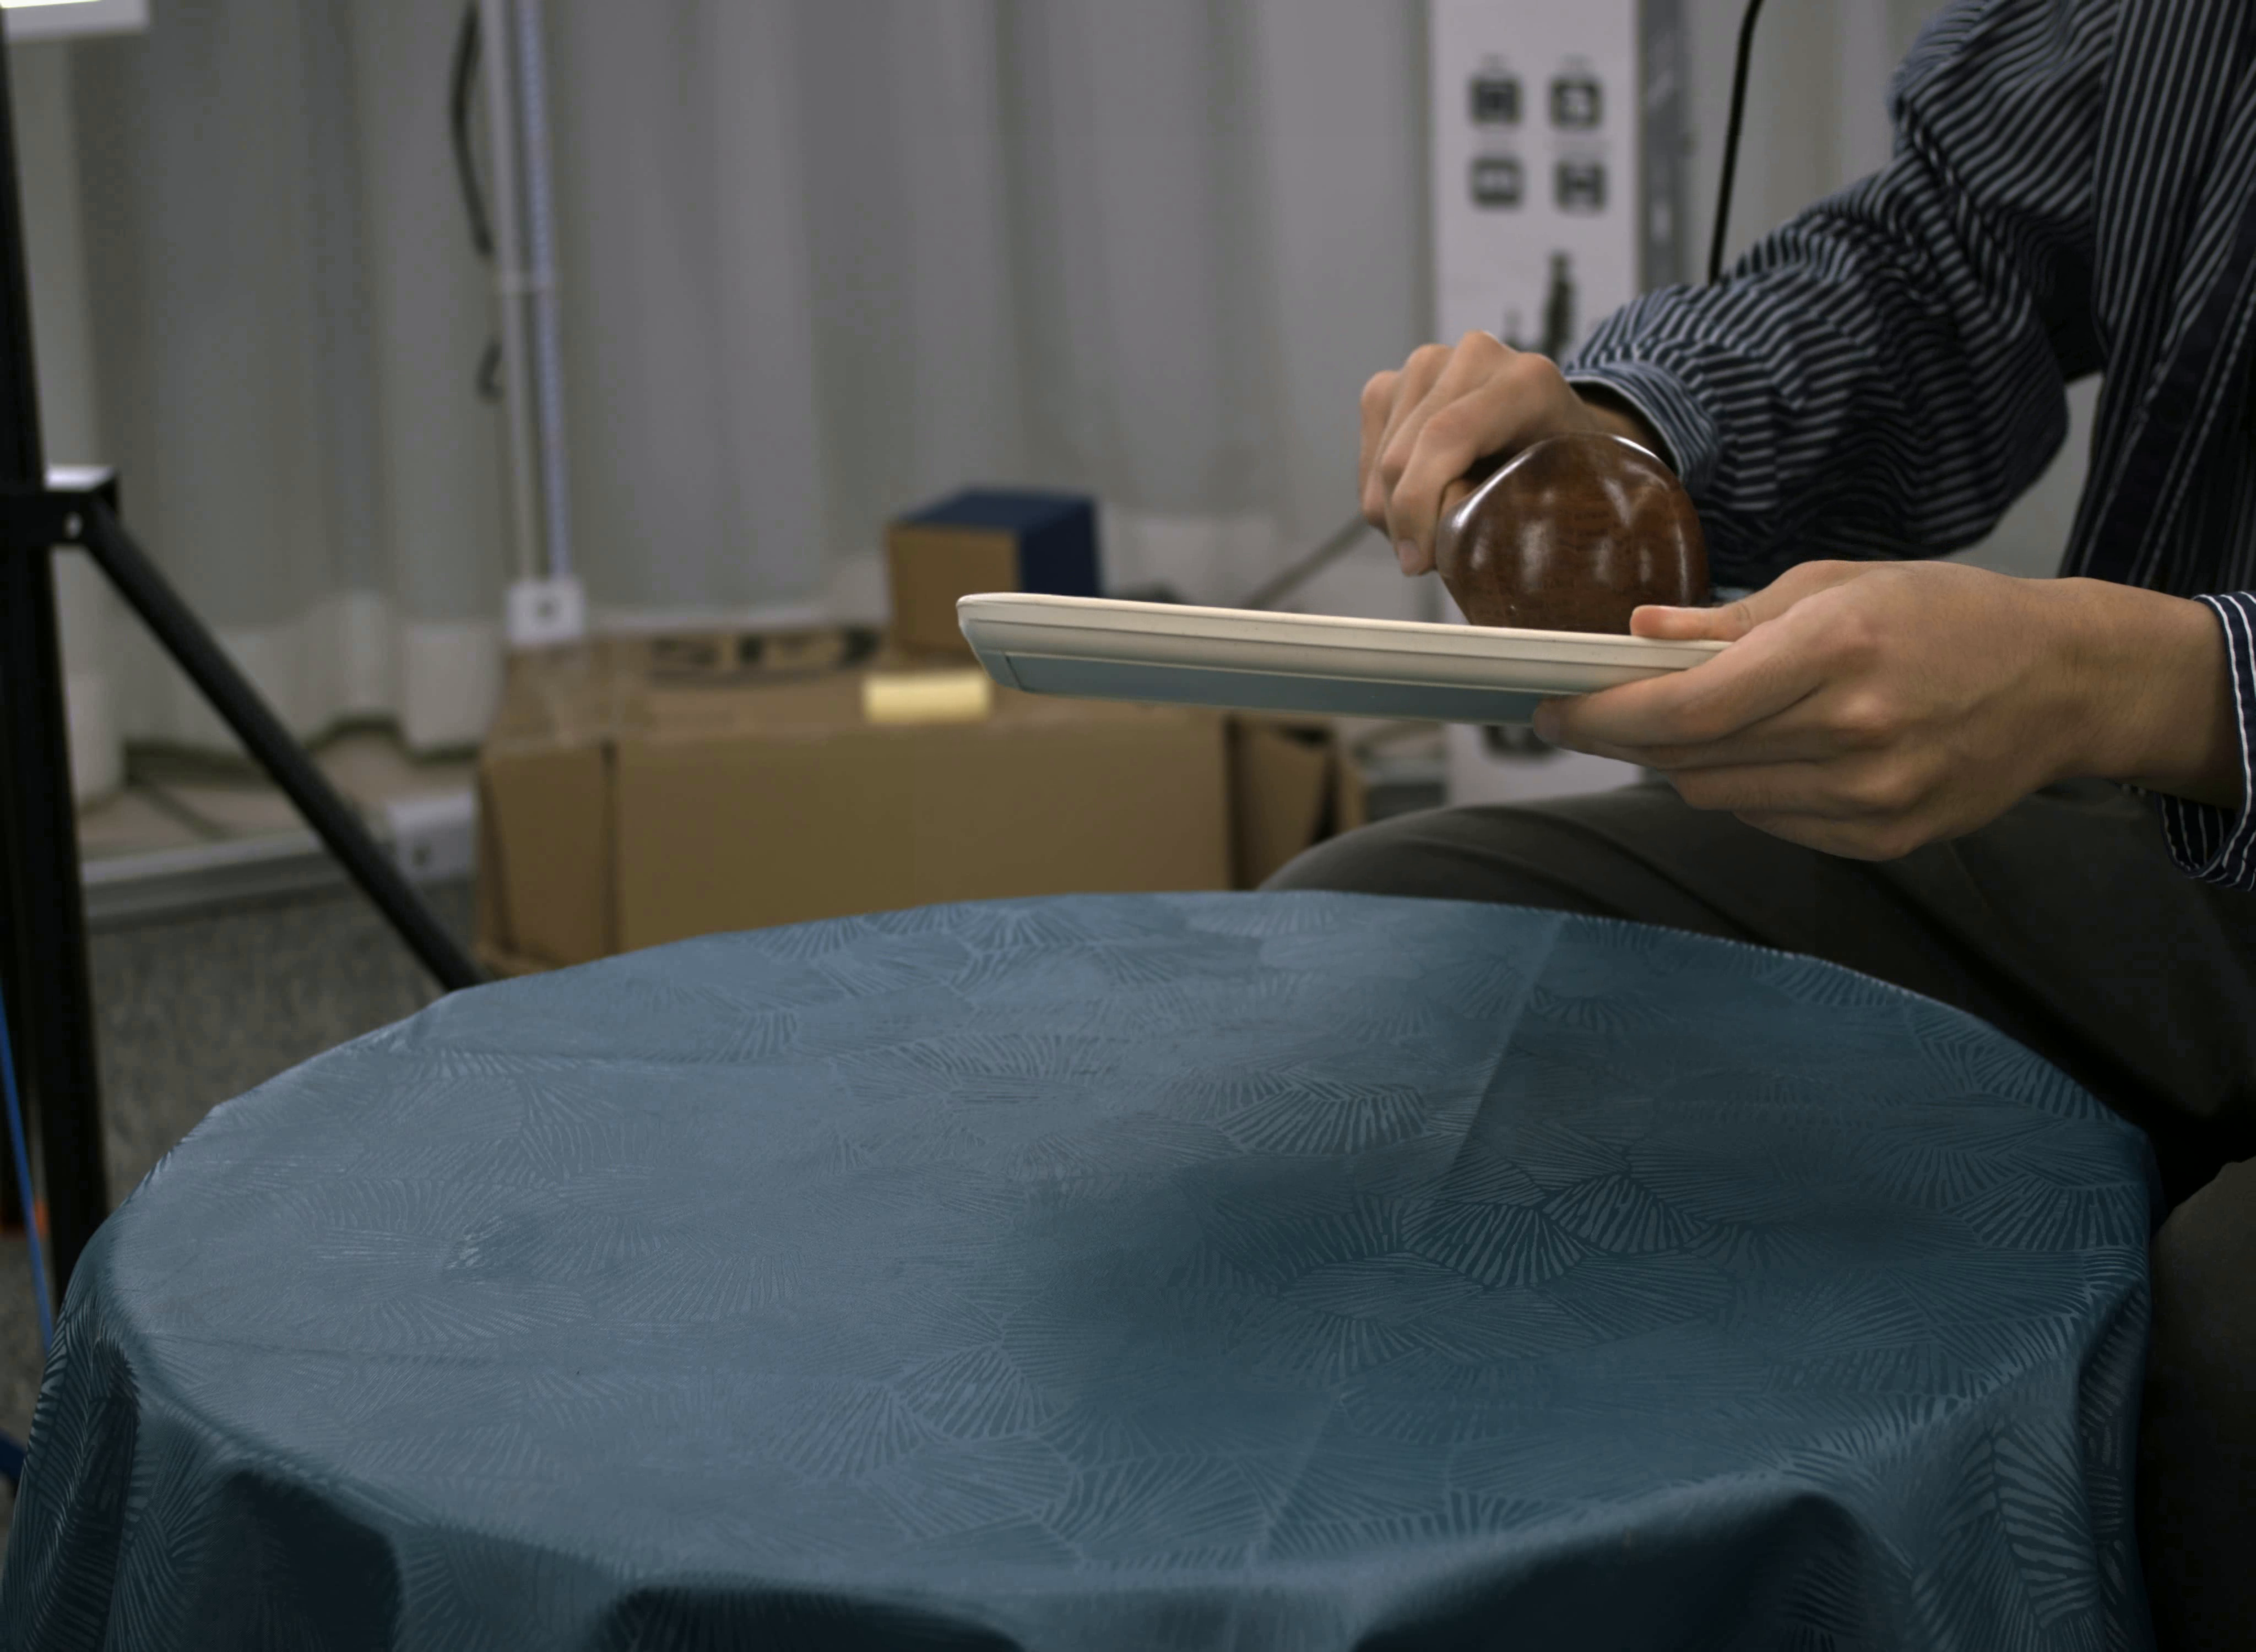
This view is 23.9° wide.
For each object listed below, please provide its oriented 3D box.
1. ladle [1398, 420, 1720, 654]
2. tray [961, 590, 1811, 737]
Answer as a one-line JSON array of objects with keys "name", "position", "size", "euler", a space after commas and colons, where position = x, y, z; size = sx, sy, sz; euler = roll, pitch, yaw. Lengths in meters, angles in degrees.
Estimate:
[{"name": "ladle", "position": [0.132, -0.092, 1.653], "size": [0.076, 0.082, 0.274], "euler": [14, 7, -2]}, {"name": "tray", "position": [0.071, -0.045, 1.535], "size": [0.239, 0.017, 0.170], "euler": [4, -3, 3]}]
